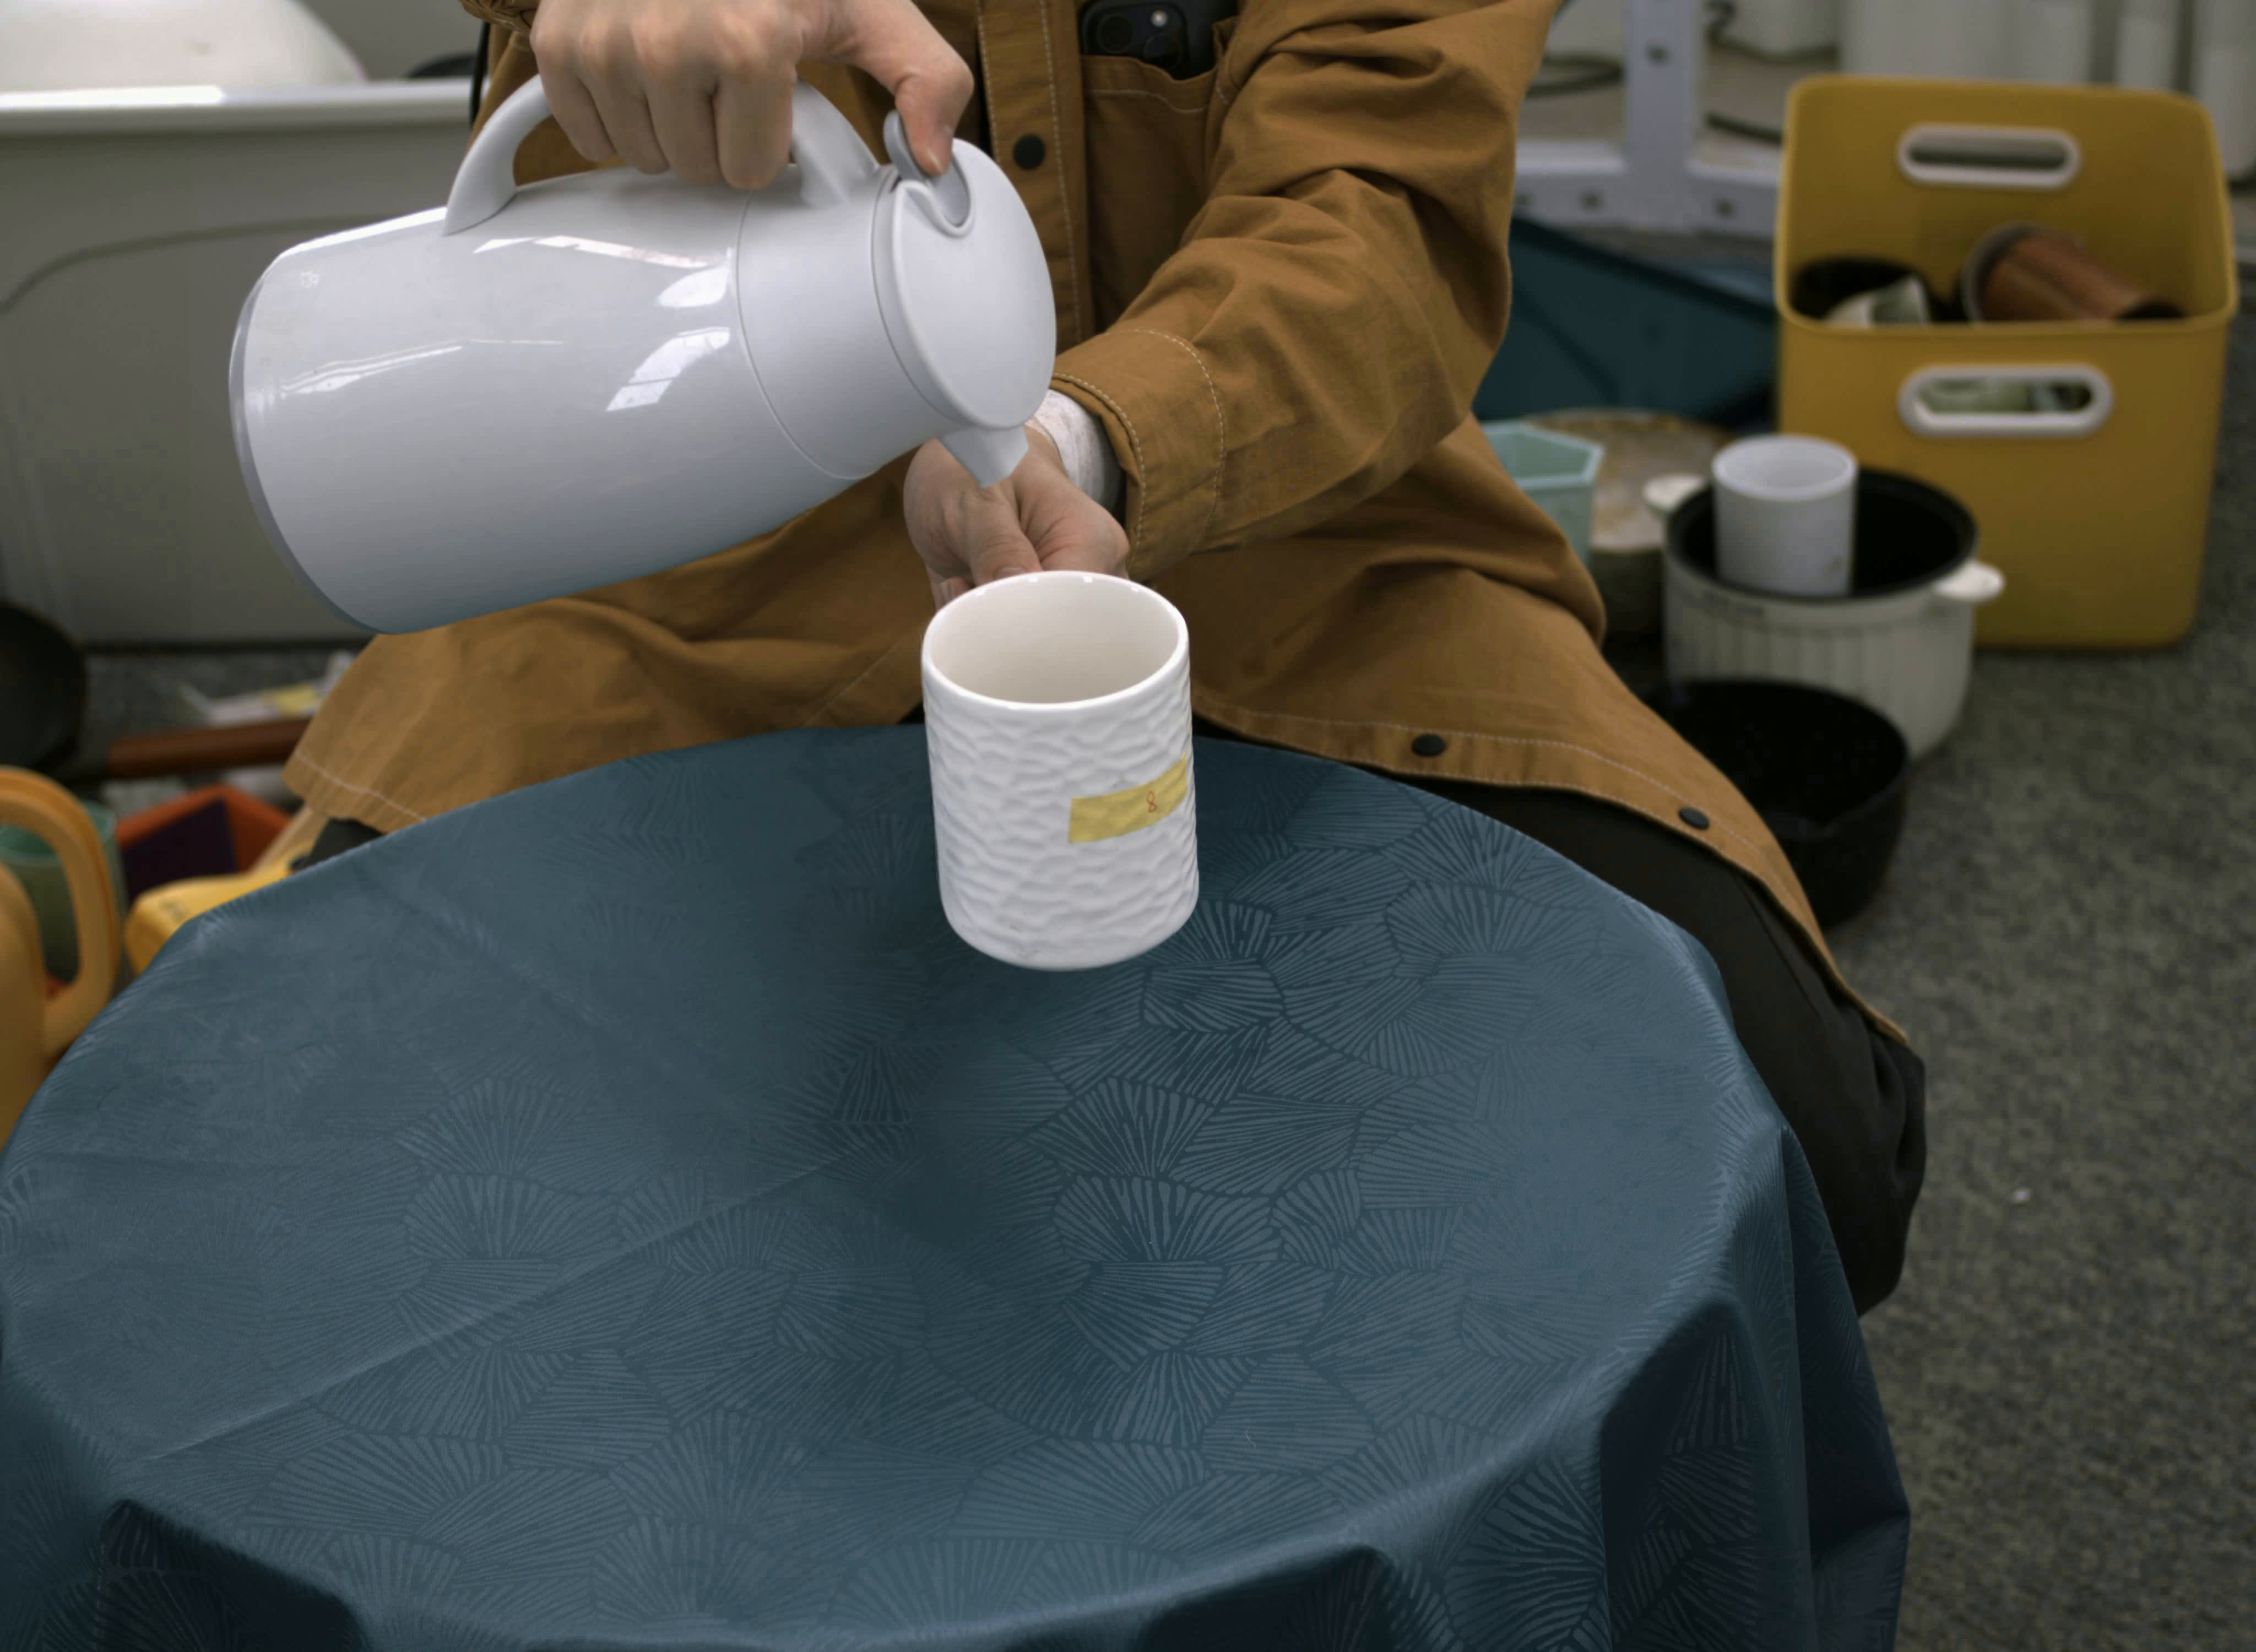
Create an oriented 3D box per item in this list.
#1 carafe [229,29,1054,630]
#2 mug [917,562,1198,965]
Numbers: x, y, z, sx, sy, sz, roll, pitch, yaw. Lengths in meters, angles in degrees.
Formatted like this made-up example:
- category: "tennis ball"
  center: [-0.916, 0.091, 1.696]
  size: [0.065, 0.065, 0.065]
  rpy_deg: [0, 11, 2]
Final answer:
- category: "carafe"
  center: [-0.154, -0.163, 1.769]
  size: [0.245, 0.166, 0.135]
  rpy_deg: [-11, 27, 29]
- category: "mug"
  center: [-0.026, -0.027, 1.802]
  size: [0.085, 0.100, 0.119]
  rpy_deg: [-12, 33, -12]
